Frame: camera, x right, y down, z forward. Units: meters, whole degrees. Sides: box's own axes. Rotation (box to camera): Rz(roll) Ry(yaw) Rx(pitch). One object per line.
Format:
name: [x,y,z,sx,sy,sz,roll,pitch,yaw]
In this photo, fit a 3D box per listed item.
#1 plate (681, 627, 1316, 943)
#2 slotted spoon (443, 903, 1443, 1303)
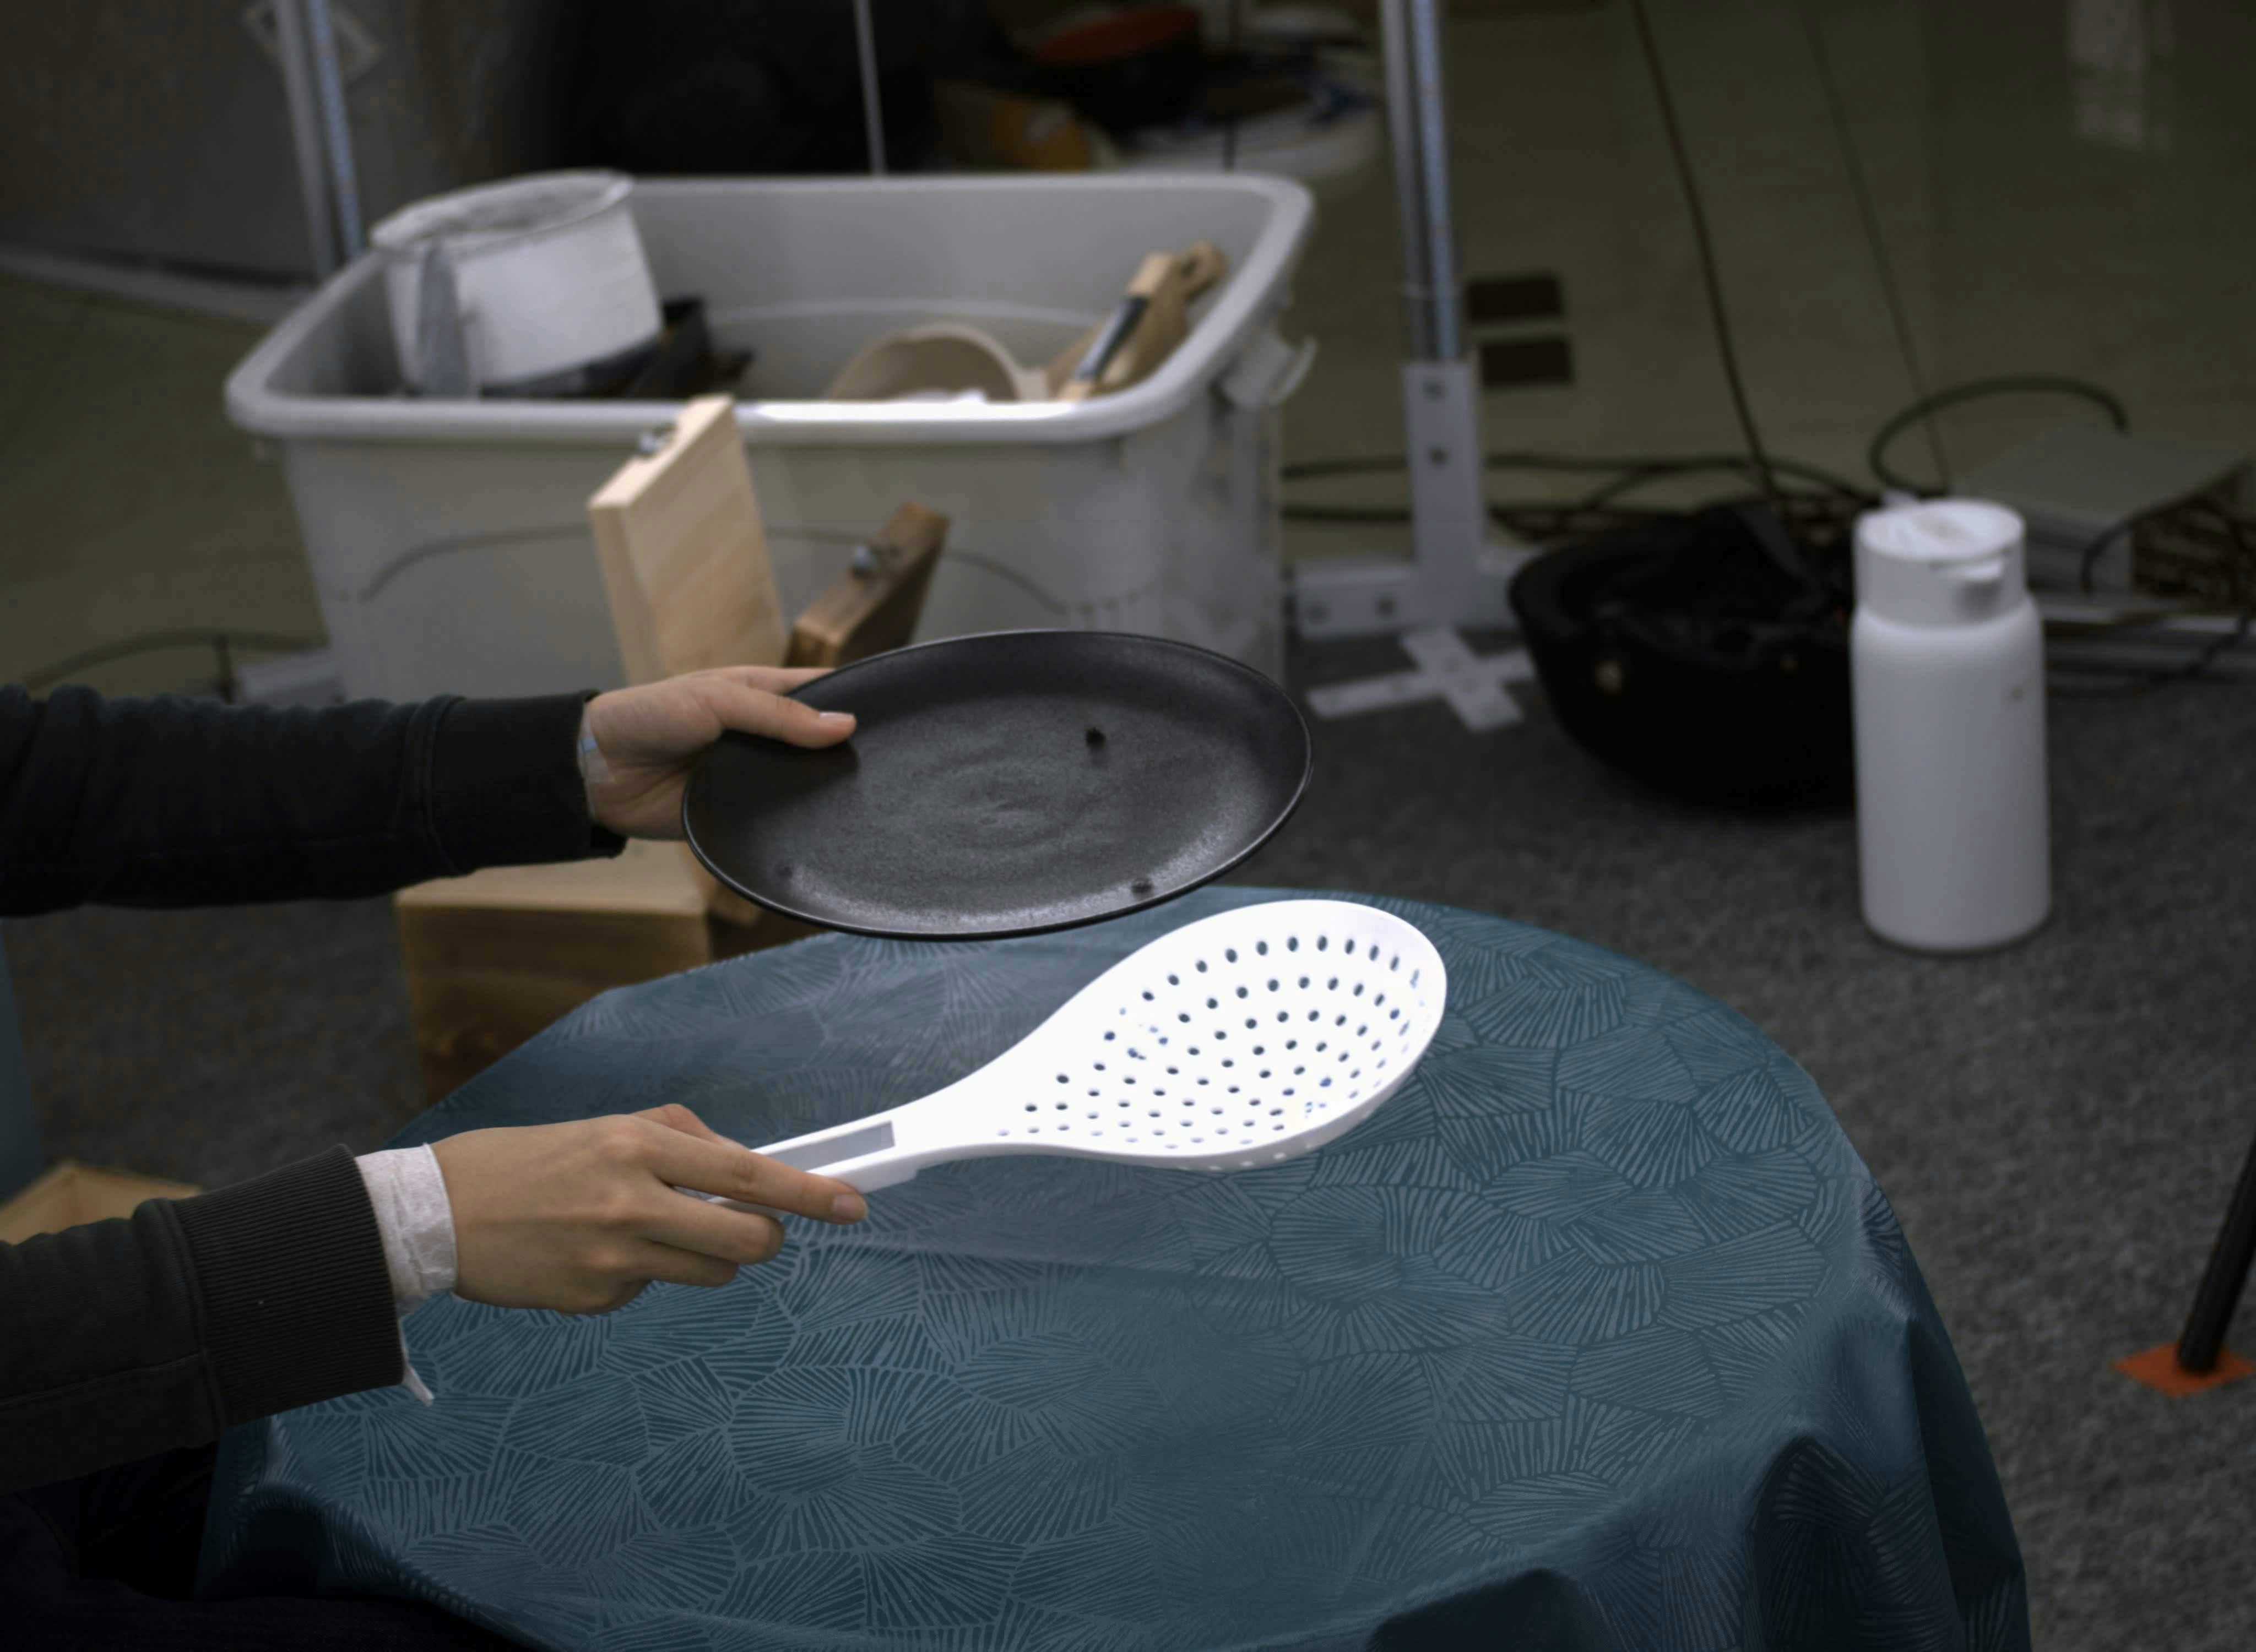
plate: [-0.049,-0.011,2.164,0.244,0.024,0.240,-5,30,3]
slotted spoon: [-0.062,0.102,1.905,0.349,0.046,0.134,-12,32,1]
